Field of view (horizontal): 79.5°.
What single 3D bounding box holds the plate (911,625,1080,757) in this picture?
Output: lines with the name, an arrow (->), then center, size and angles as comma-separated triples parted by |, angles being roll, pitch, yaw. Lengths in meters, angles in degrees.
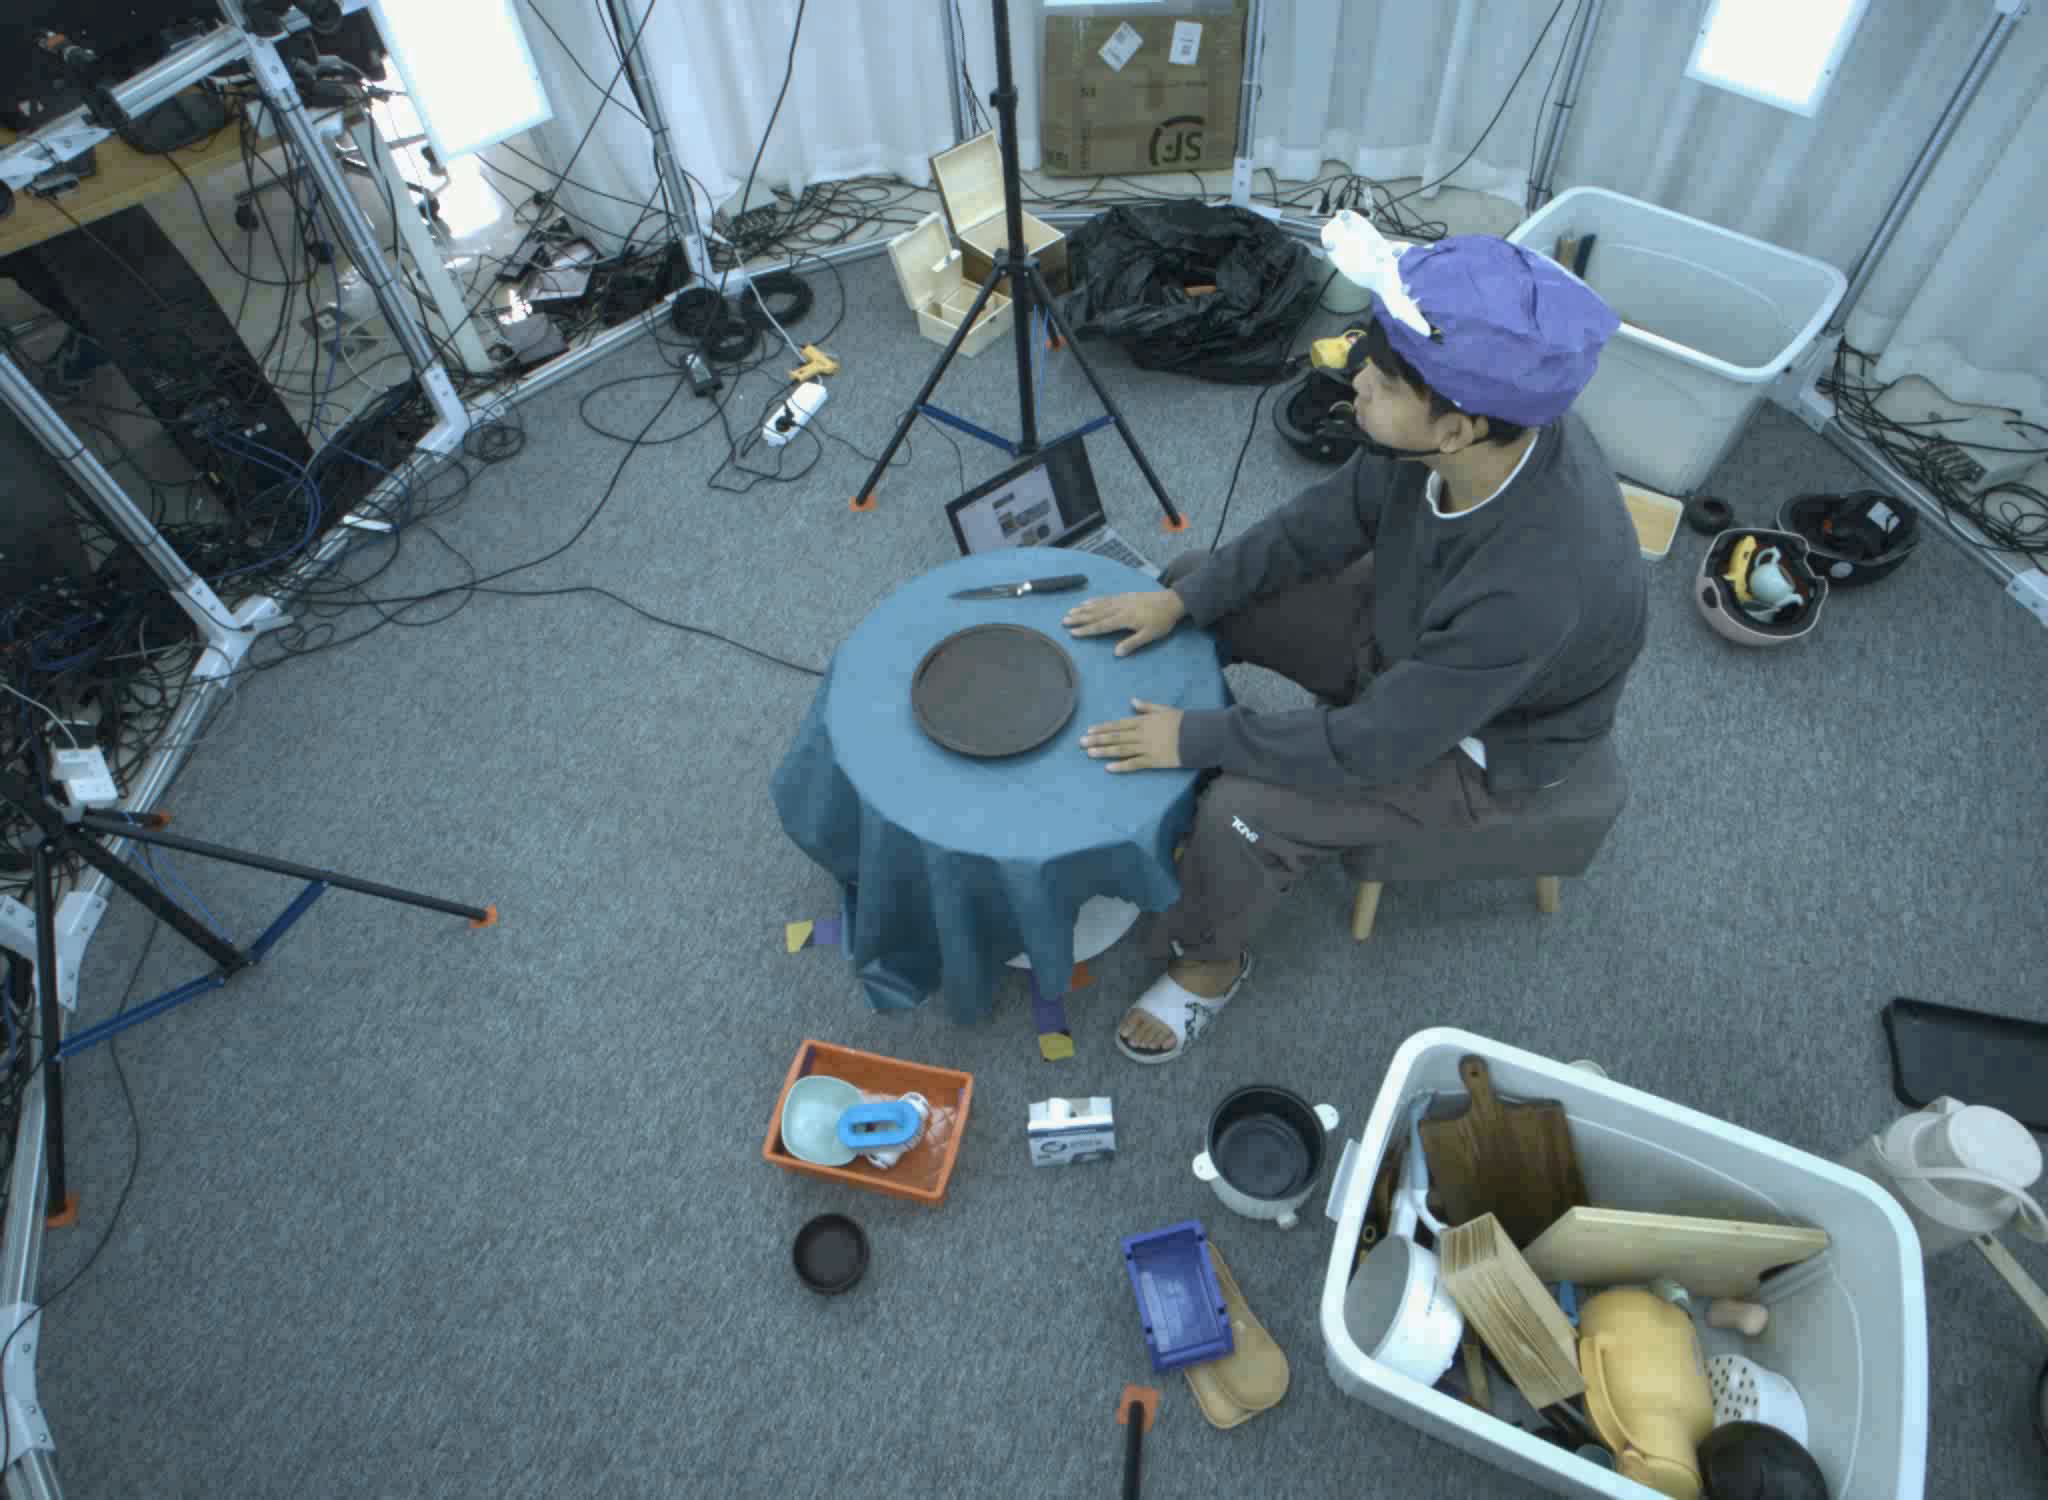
plate -> -0.043, -0.090, 1.838 | 0.255, 0.029, 0.252 | 0, 53, 1

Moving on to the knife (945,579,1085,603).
knife -> -0.014, -0.254, 1.961 | 0.226, 0.017, 0.026 | -6, 60, -2
